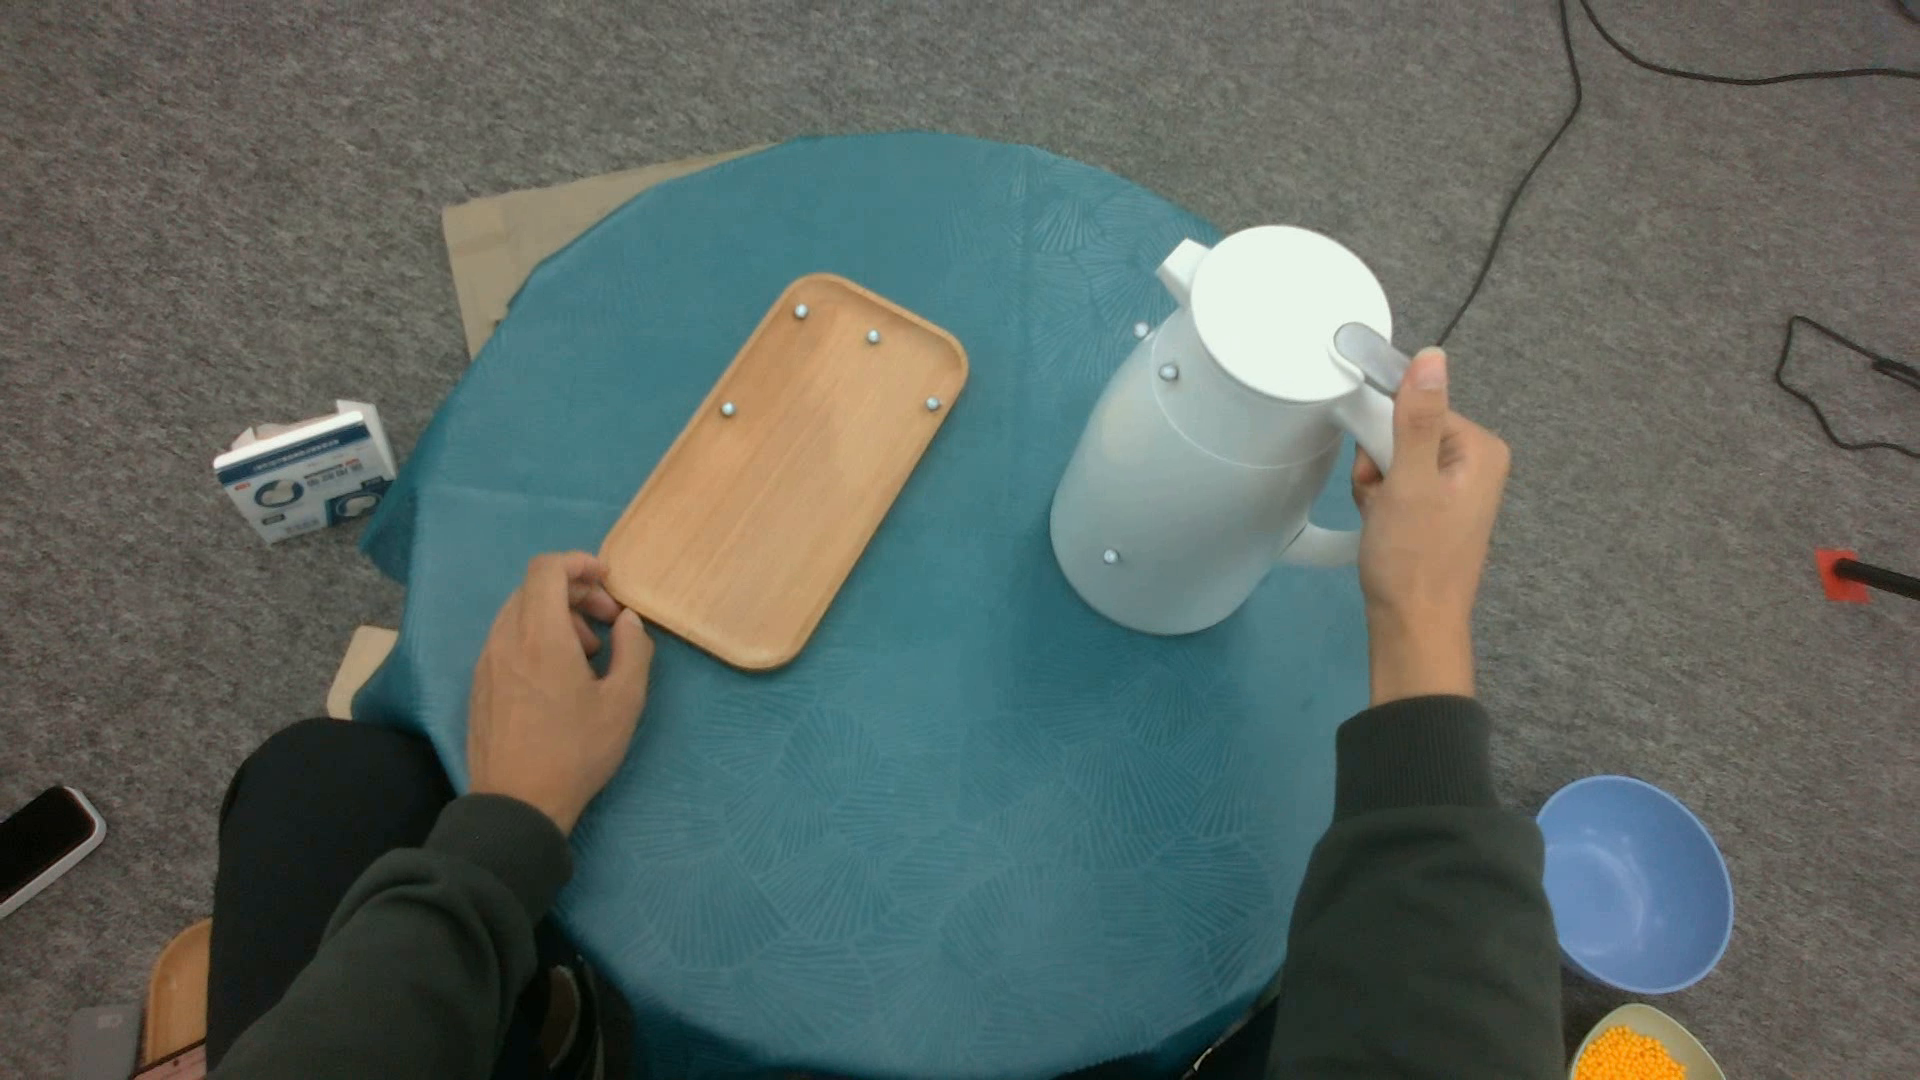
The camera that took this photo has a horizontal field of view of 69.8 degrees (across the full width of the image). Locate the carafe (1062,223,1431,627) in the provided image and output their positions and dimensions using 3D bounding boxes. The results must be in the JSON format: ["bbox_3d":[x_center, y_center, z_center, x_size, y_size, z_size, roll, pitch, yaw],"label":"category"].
[{"bbox_3d":[0.155,-0.049,0.725,0.168,0.247,0.133,36,66,9],"label":"carafe"}]

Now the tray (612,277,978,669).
[{"bbox_3d":[-0.093,-0.046,0.822,0.130,0.023,0.251,27,66,8],"label":"tray"}]
